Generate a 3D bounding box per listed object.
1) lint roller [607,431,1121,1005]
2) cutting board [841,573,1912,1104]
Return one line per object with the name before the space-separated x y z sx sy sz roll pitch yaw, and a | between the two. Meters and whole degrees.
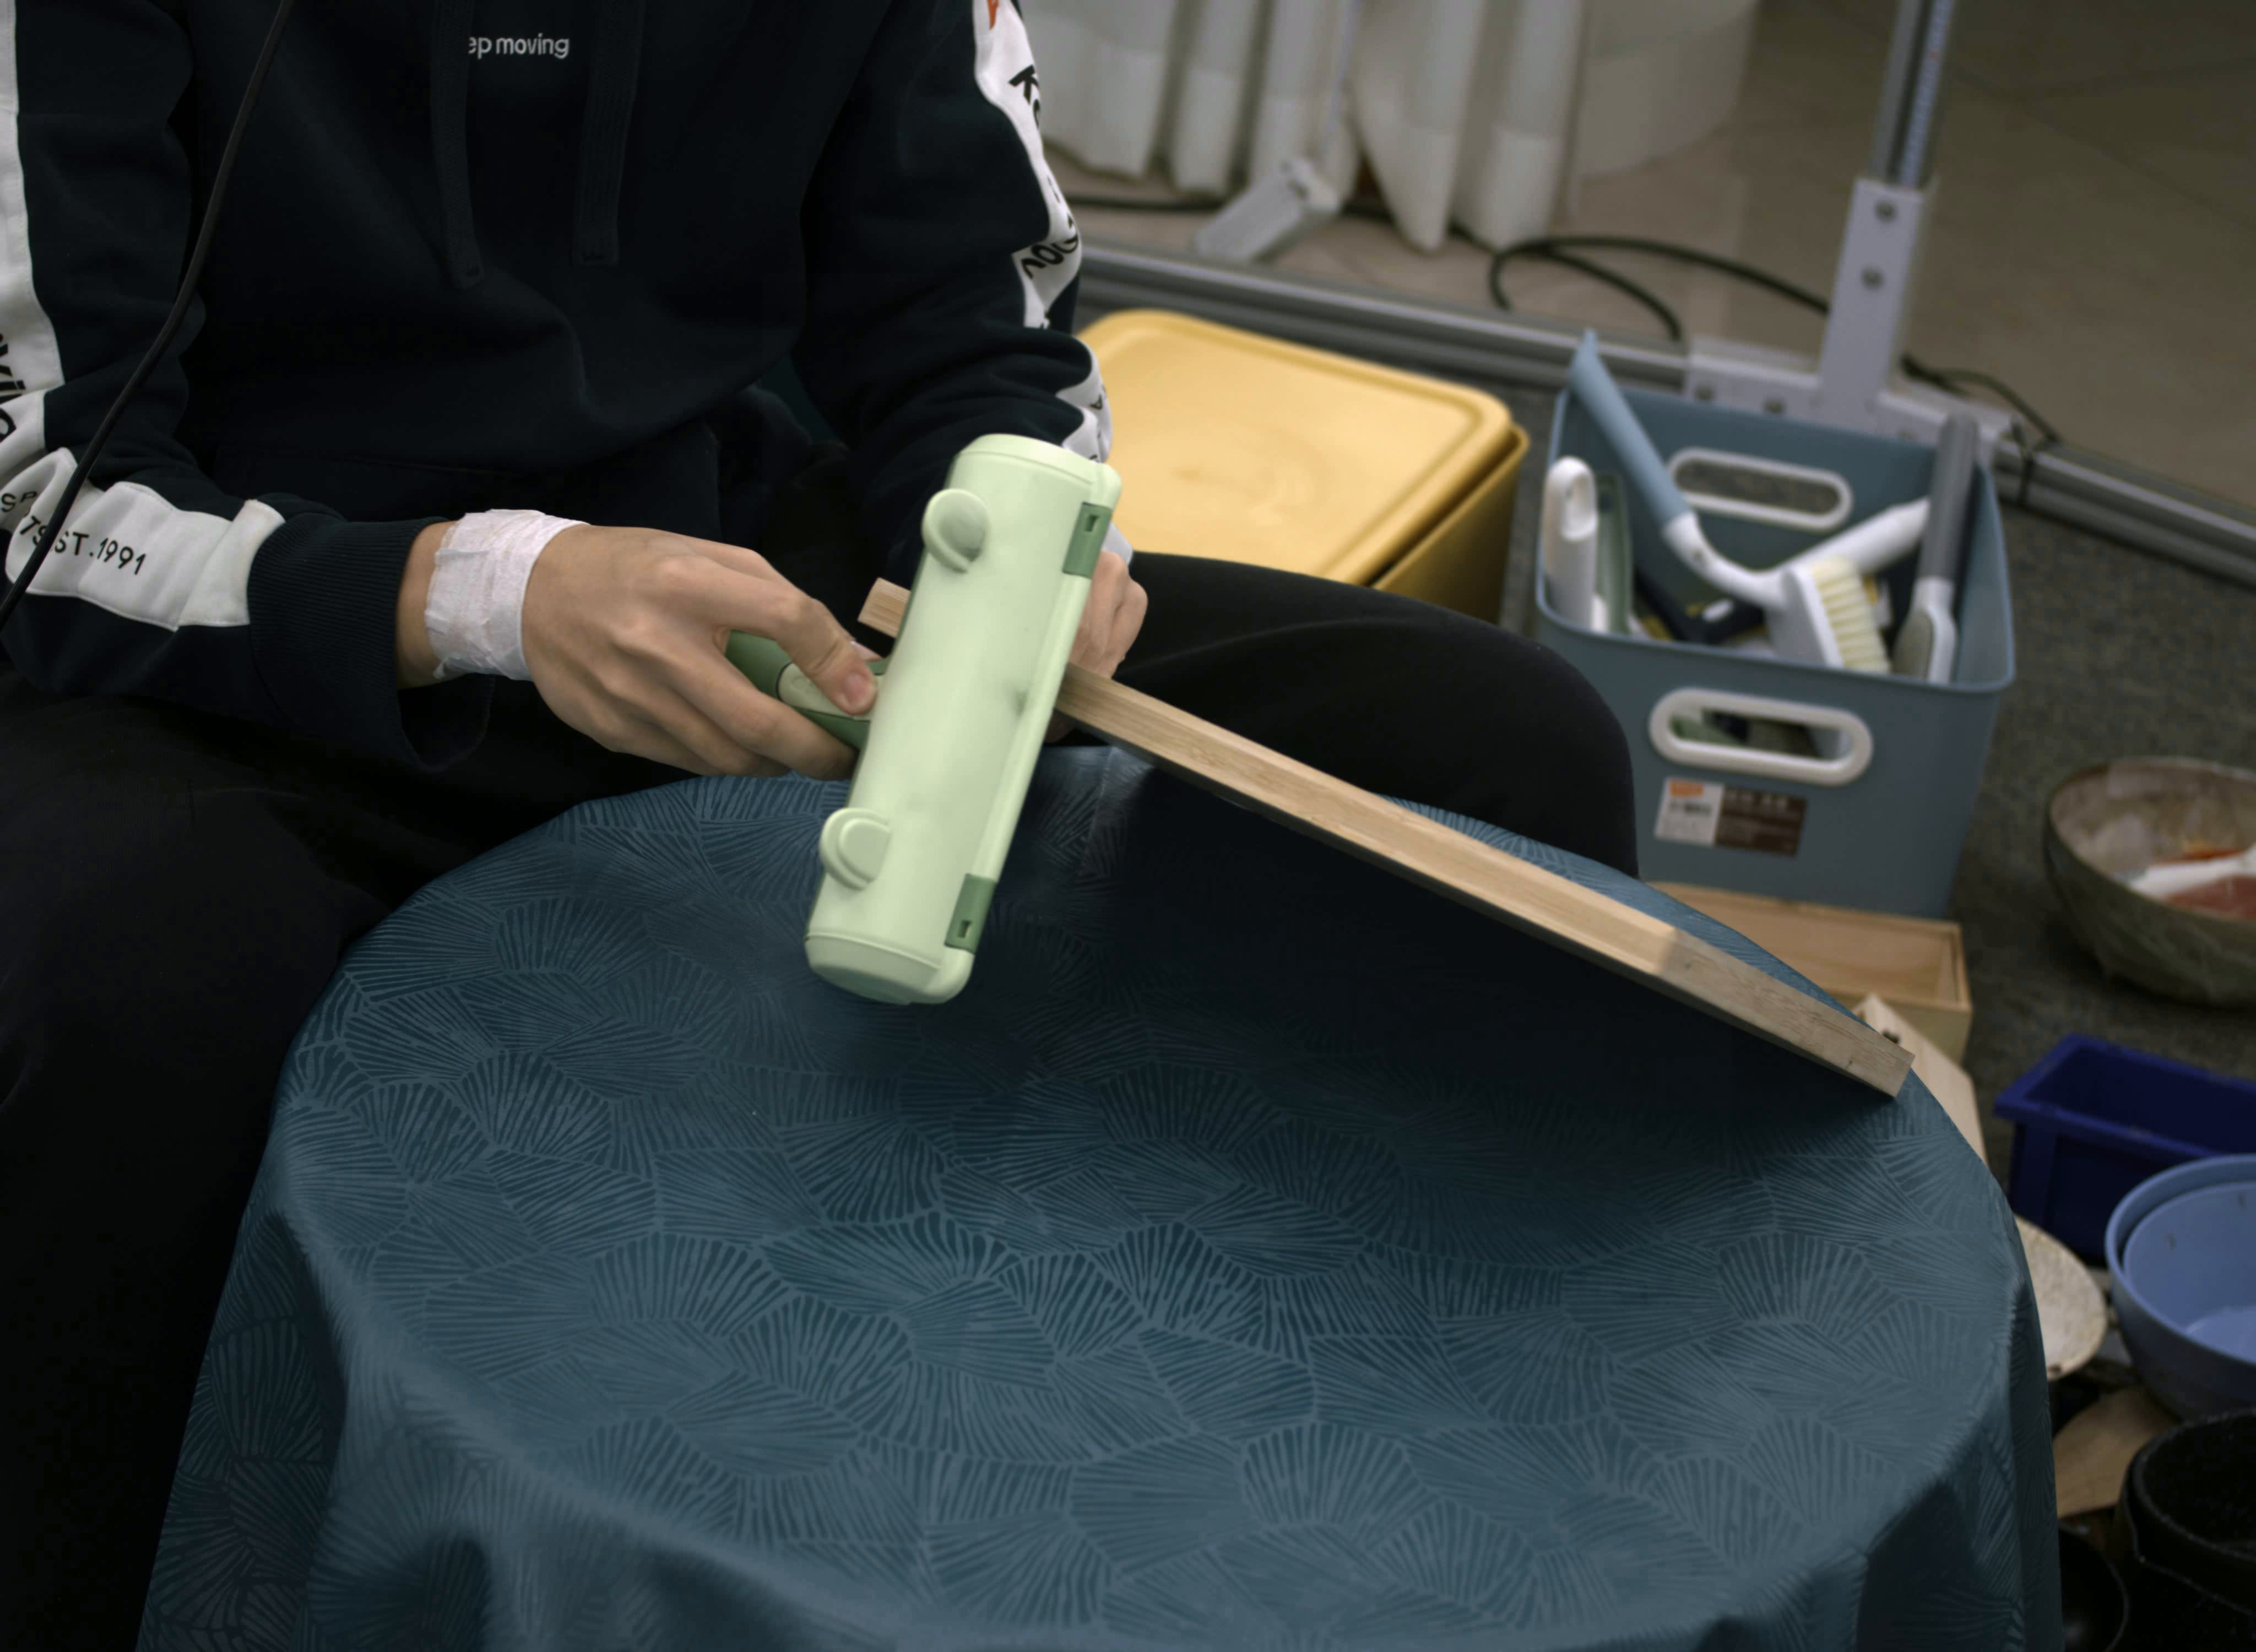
lint roller | -0.110 -0.049 1.826 0.184 0.199 0.081 12 -14 22
cutting board | 0.089 0.005 1.898 0.351 0.023 0.248 24 -1 30
